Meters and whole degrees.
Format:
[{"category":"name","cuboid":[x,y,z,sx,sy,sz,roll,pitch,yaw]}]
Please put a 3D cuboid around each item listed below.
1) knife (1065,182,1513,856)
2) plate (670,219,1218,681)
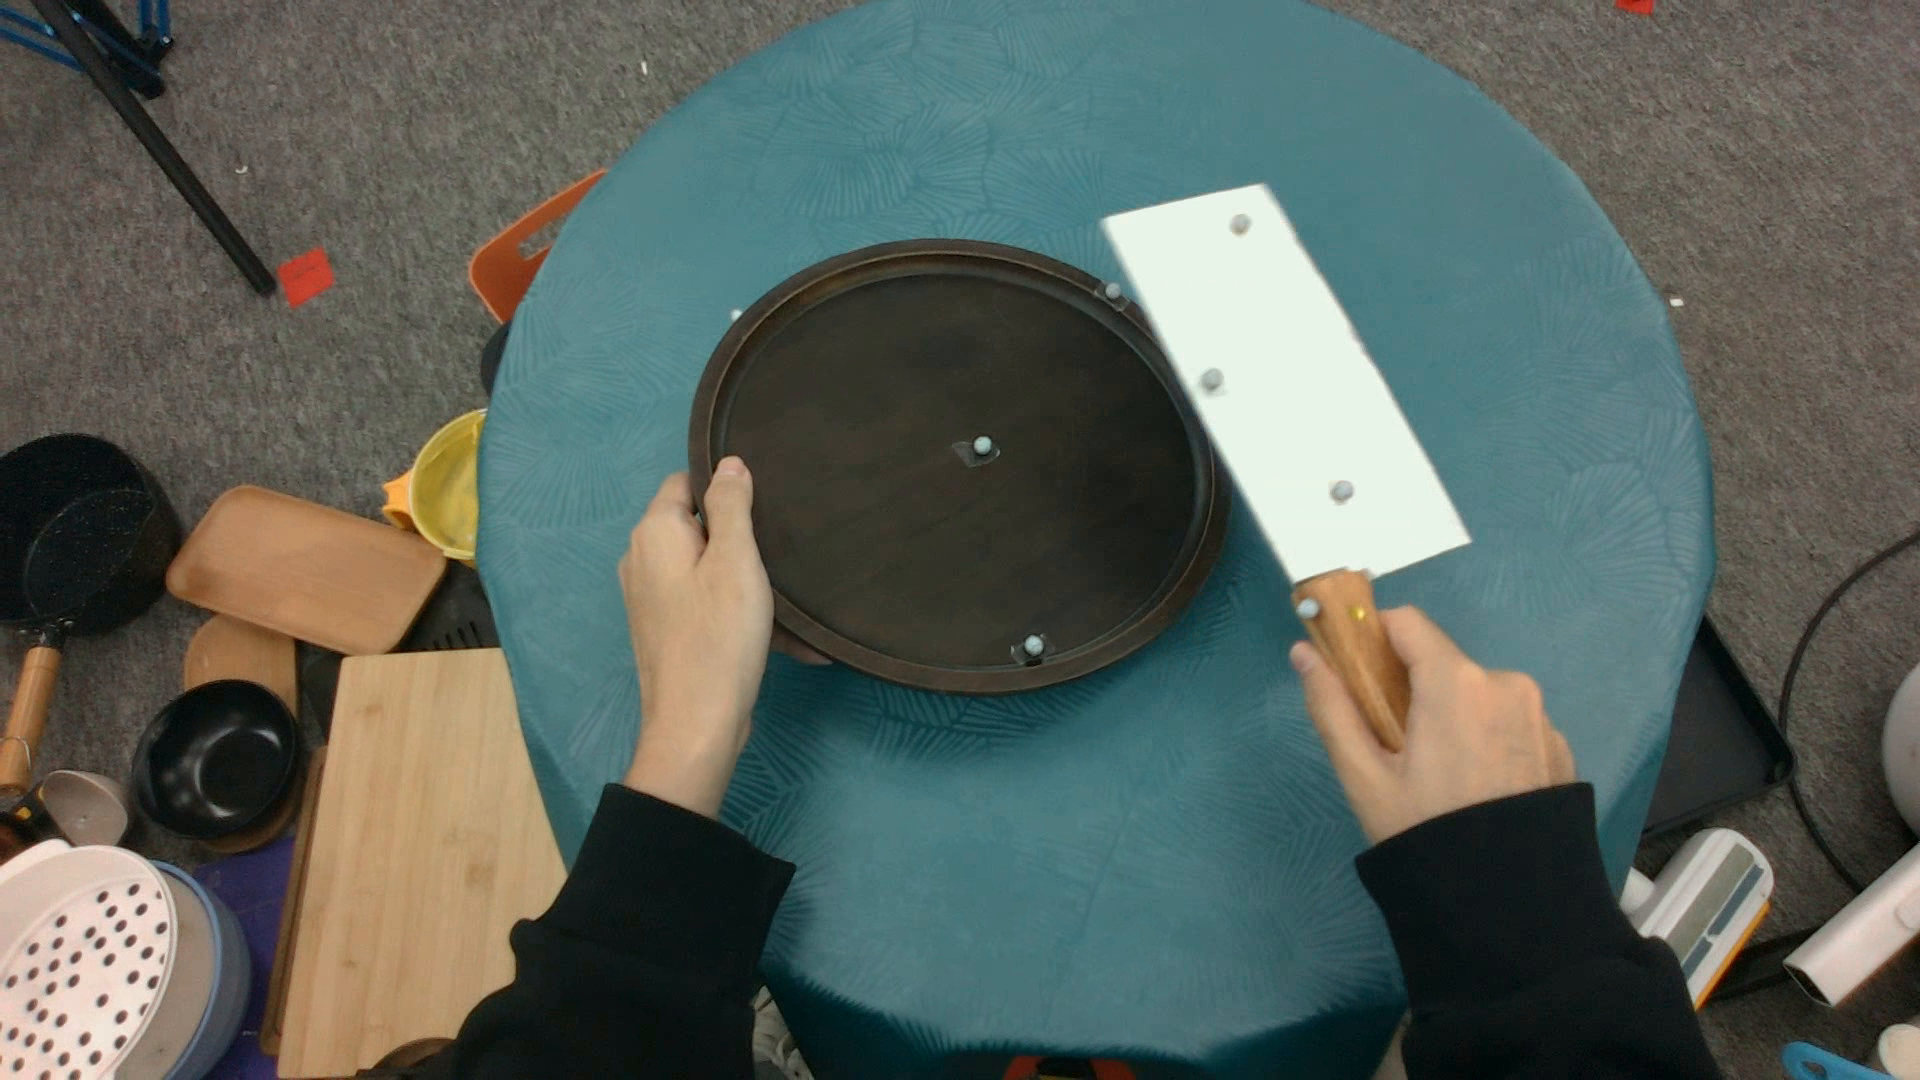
[{"category":"knife","cuboid":[0.148,-0.025,0.567,0.093,0.021,0.306,-20,72,-25]},{"category":"plate","cuboid":[-0.005,-0.049,0.638,0.255,0.029,0.256,5,57,-8]}]
